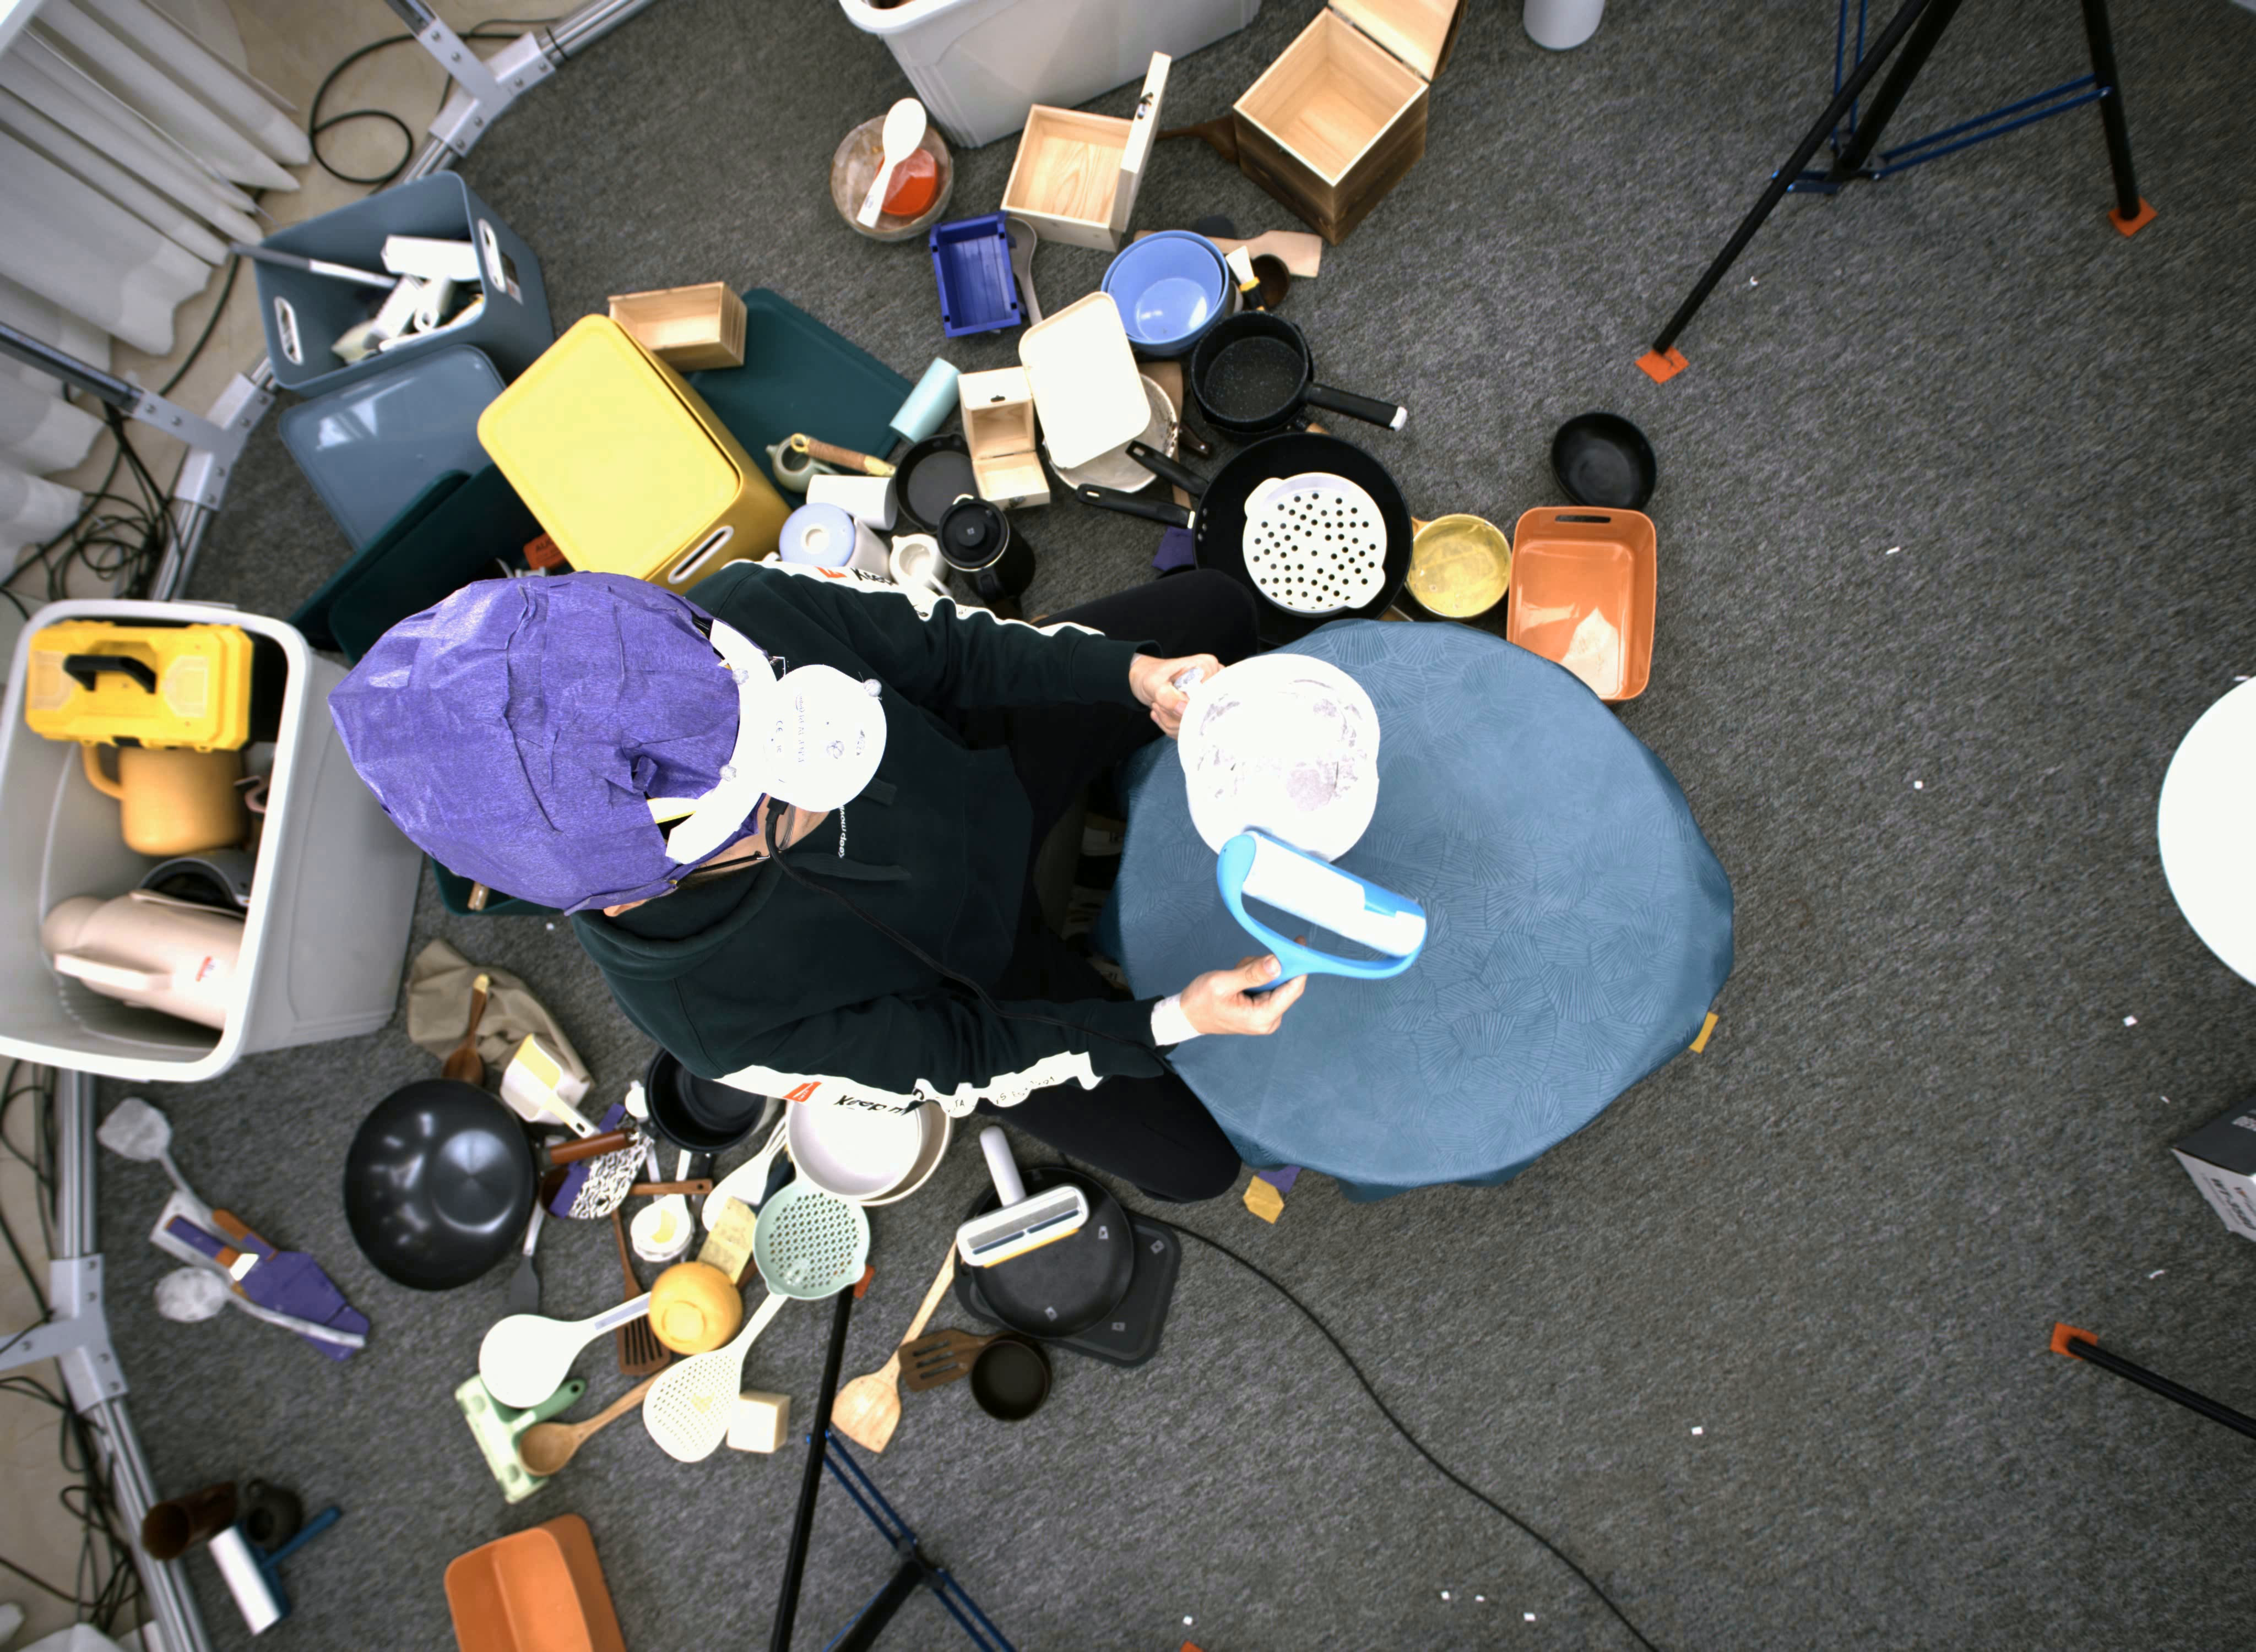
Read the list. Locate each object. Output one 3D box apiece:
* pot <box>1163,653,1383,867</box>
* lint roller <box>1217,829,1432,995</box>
[{"bbox_3d":[0.120,-0.066,1.270,0.232,0.139,0.177,39,75,22],"label":"pot"},{"bbox_3d":[0.149,0.105,1.250,0.229,0.066,0.184,19,122,-25],"label":"lint roller"}]
